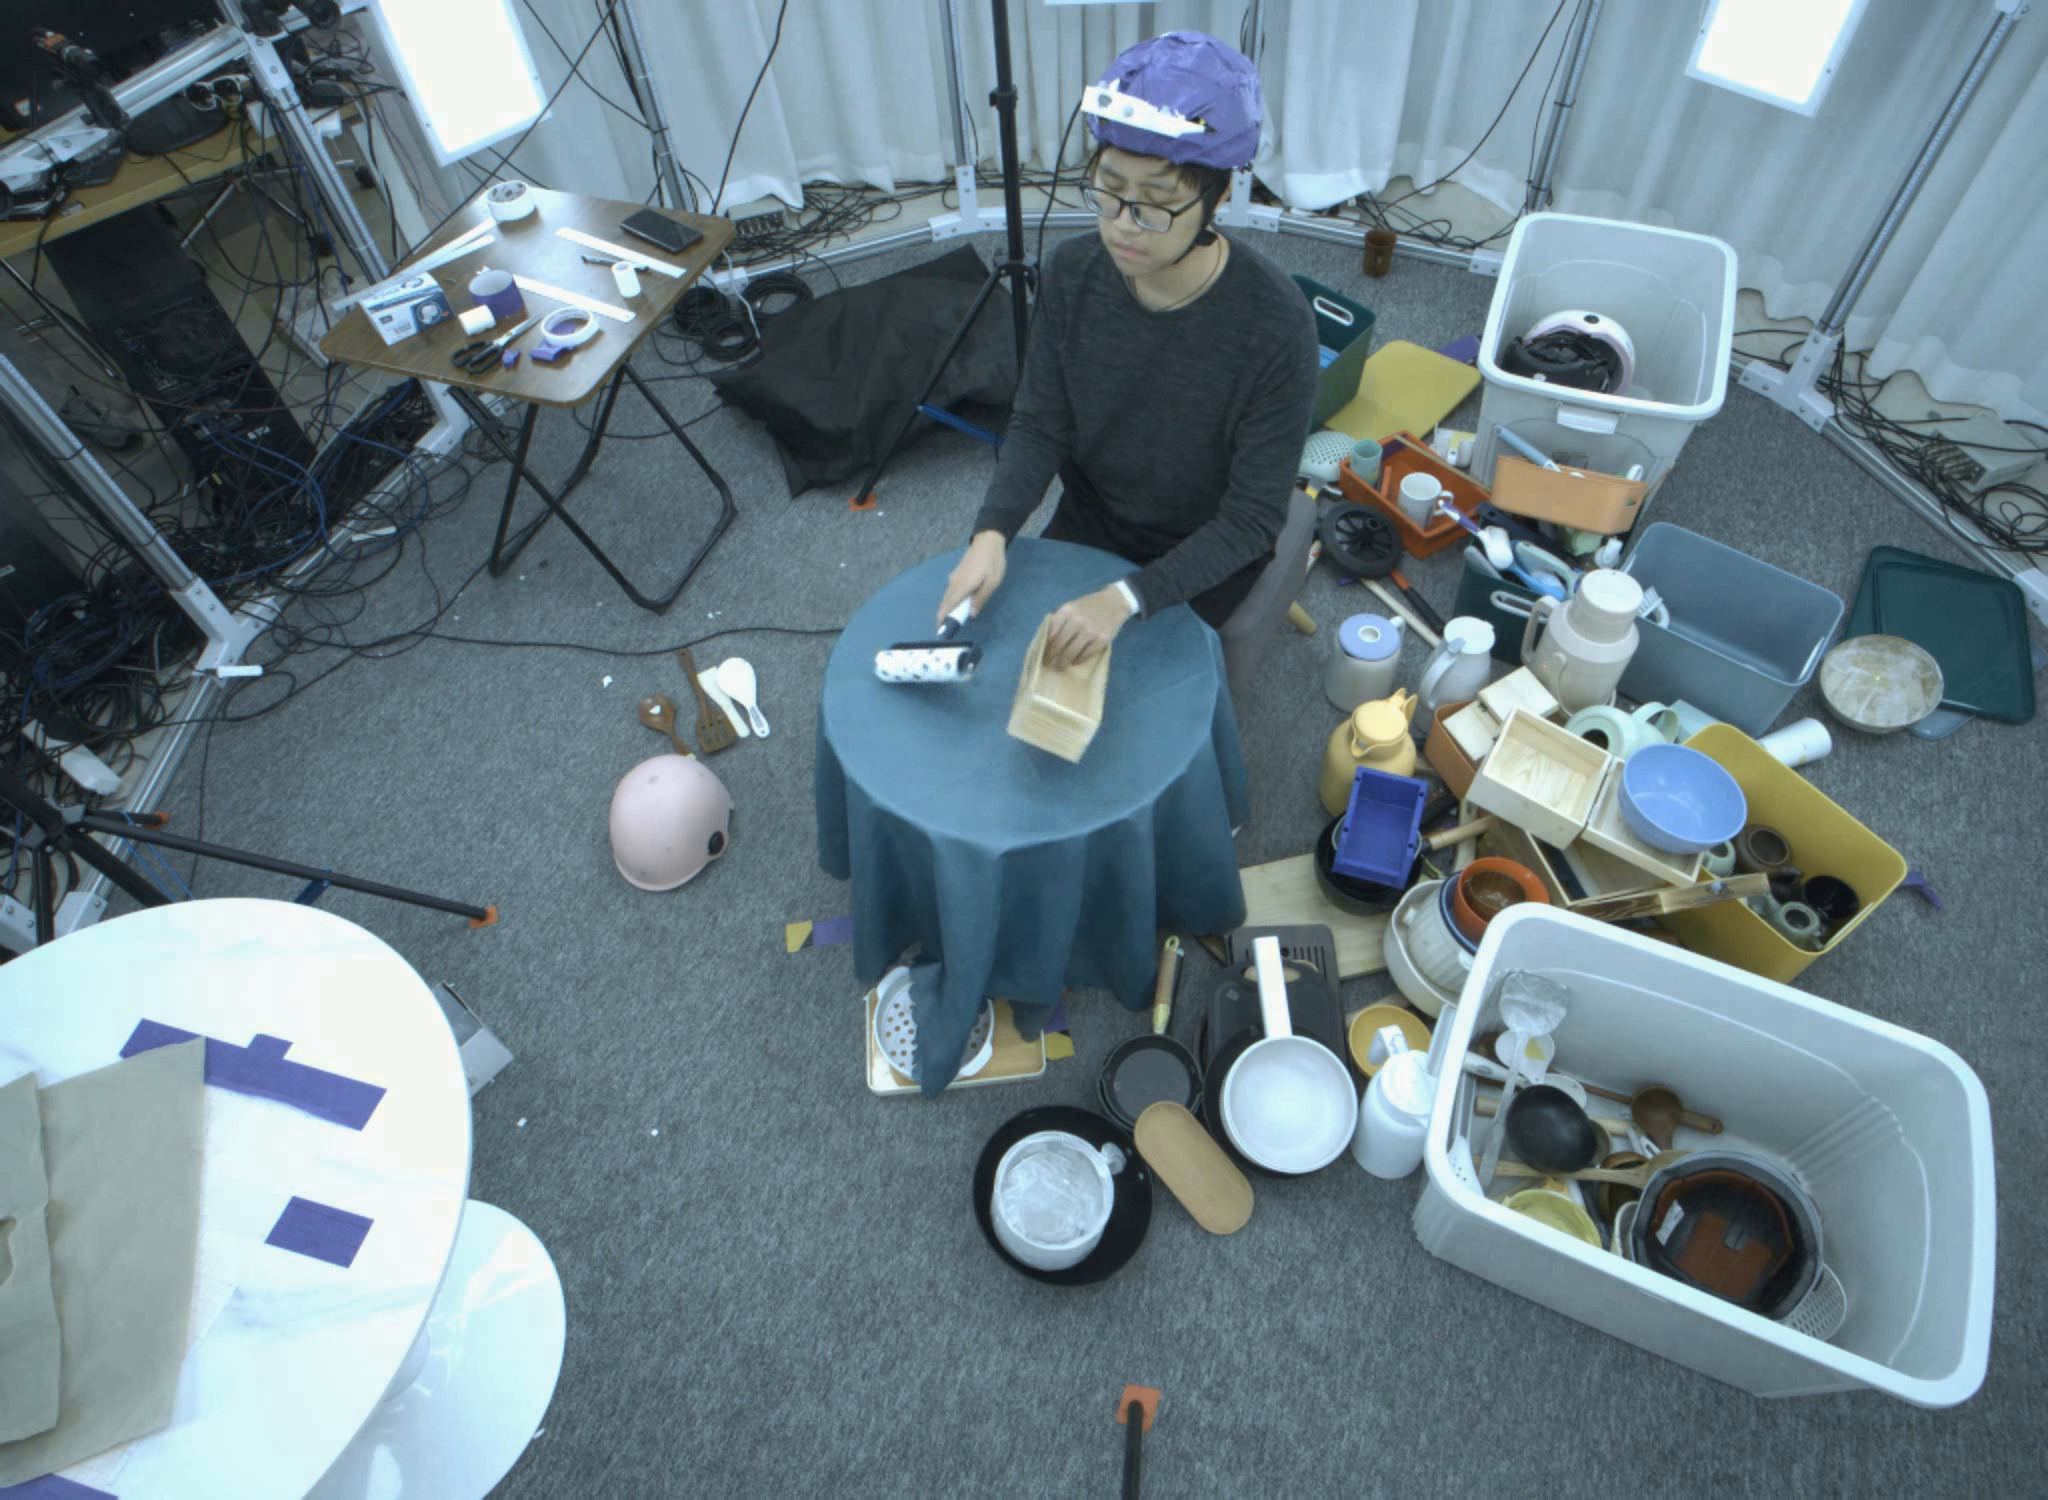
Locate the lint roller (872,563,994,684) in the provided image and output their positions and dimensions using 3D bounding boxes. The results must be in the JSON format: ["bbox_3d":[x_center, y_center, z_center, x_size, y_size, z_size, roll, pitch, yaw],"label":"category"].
[{"bbox_3d":[-0.112,-0.201,1.865,0.172,0.051,0.247,5,54,35],"label":"lint roller"}]

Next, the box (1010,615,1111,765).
[{"bbox_3d":[0.054,-0.087,1.736,0.108,0.080,0.210,22,36,-10],"label":"box"}]
